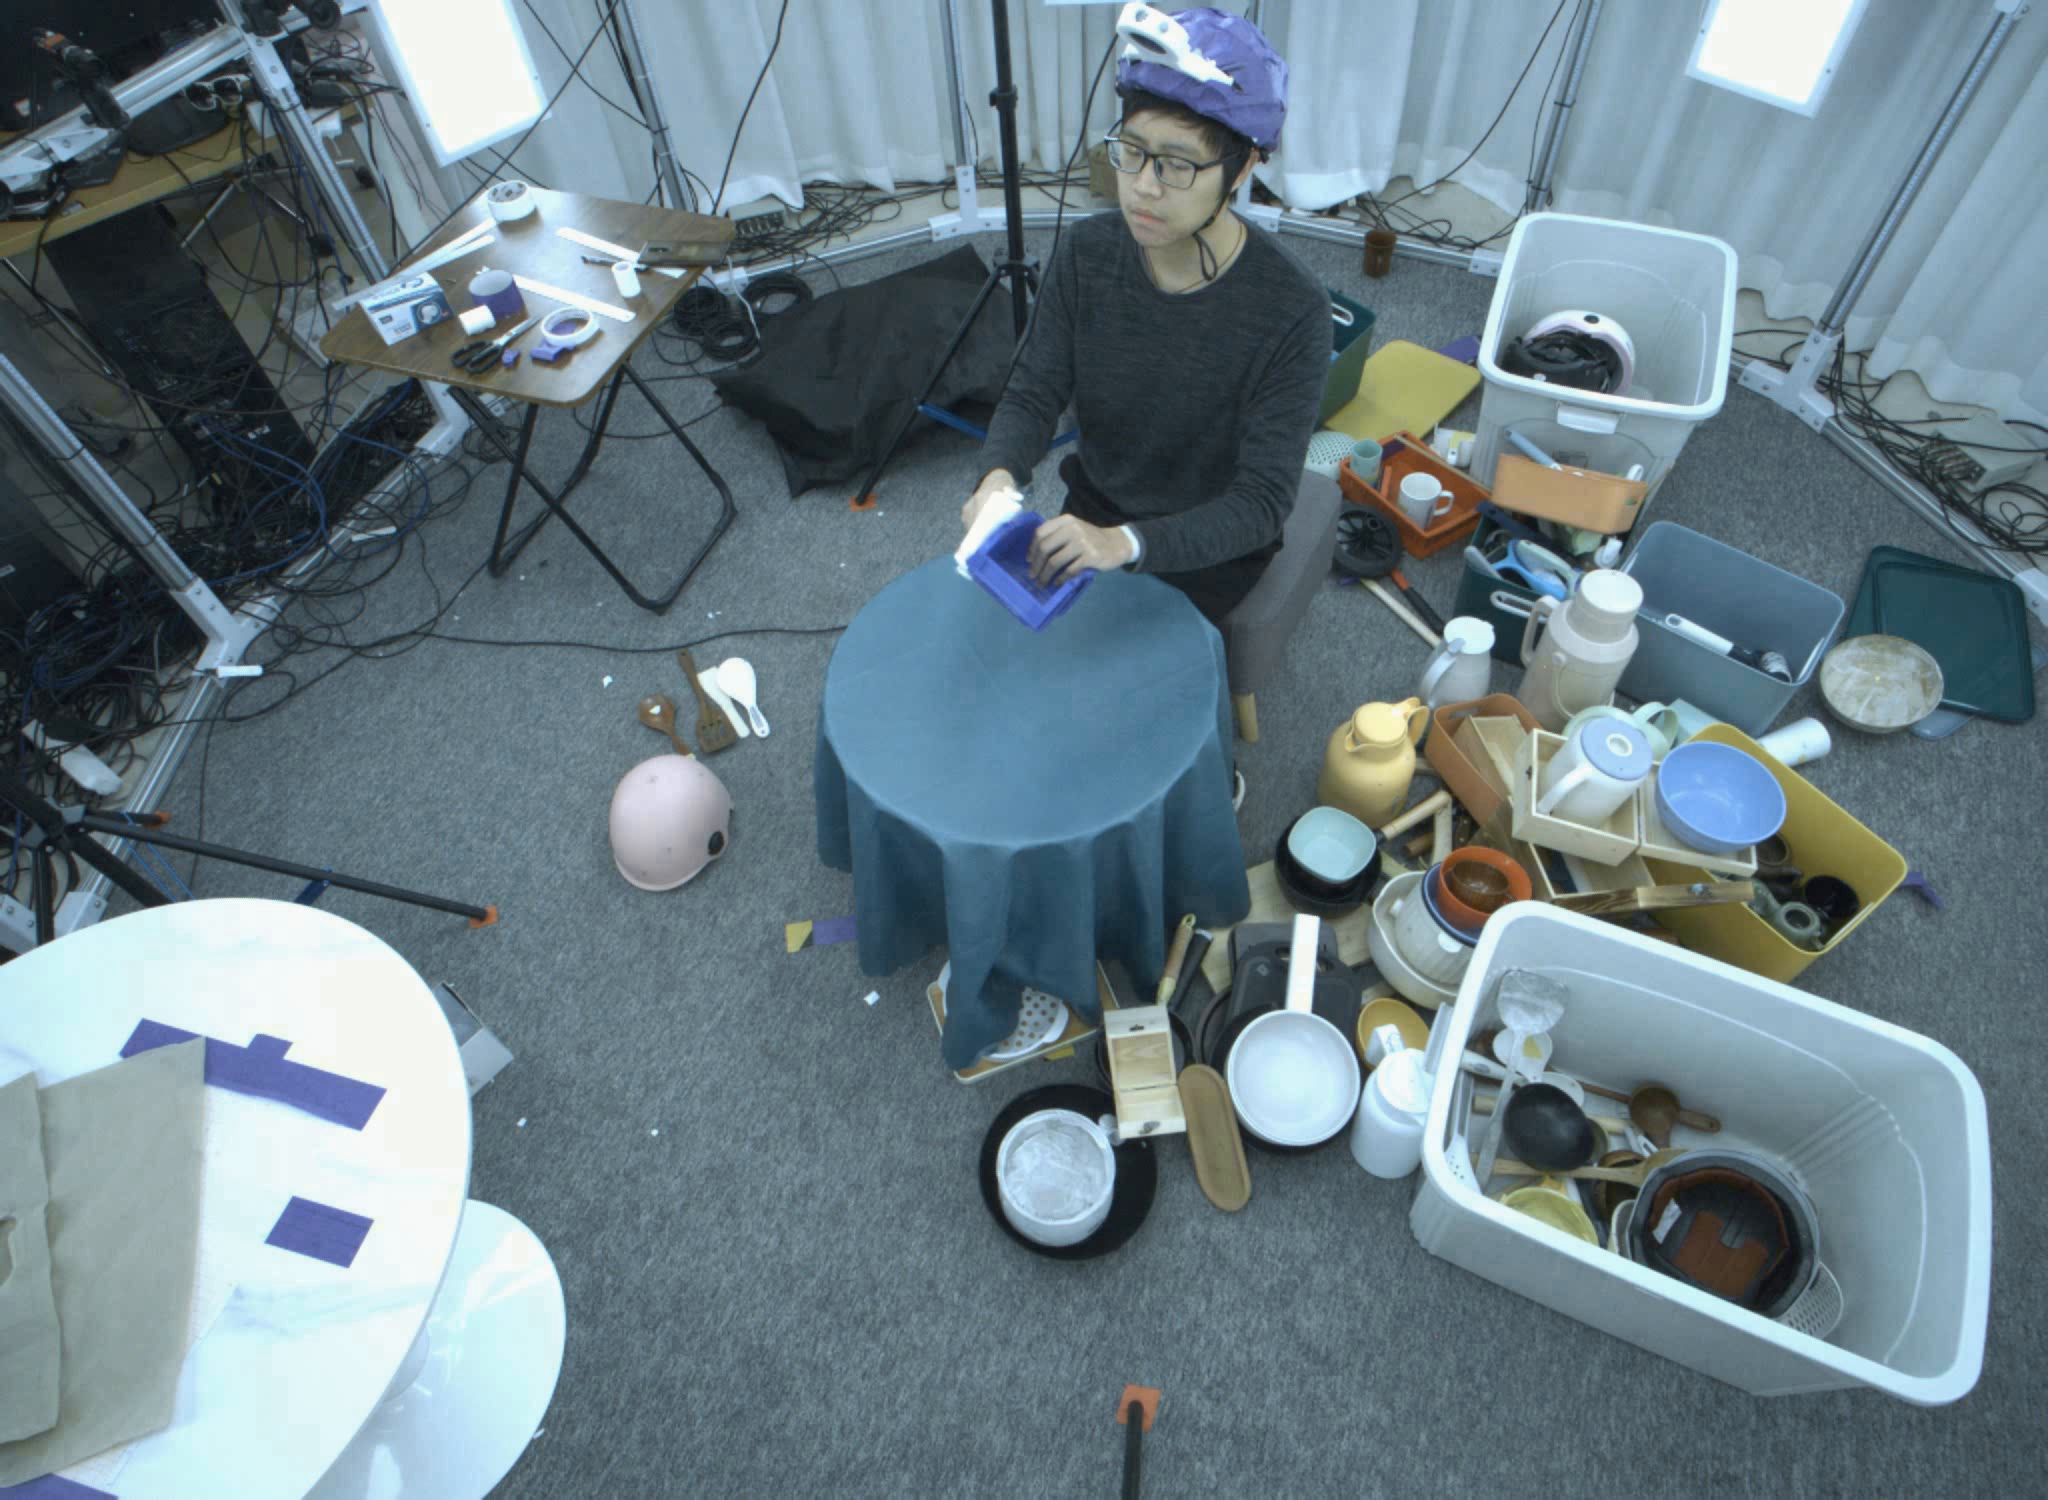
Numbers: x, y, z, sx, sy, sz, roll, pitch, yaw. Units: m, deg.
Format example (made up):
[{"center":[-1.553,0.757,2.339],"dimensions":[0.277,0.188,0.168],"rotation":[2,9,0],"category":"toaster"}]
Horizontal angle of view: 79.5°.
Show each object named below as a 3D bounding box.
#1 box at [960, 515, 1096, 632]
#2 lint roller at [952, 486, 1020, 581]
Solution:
[{"center":[0.005,-0.226,1.575],"dimensions":[0.124,0.081,0.180],"rotation":[44,21,1],"category":"box"},{"center":[-0.058,-0.308,1.651],"dimensions":[0.051,0.132,0.178],"rotation":[26,19,-19],"category":"lint roller"}]
